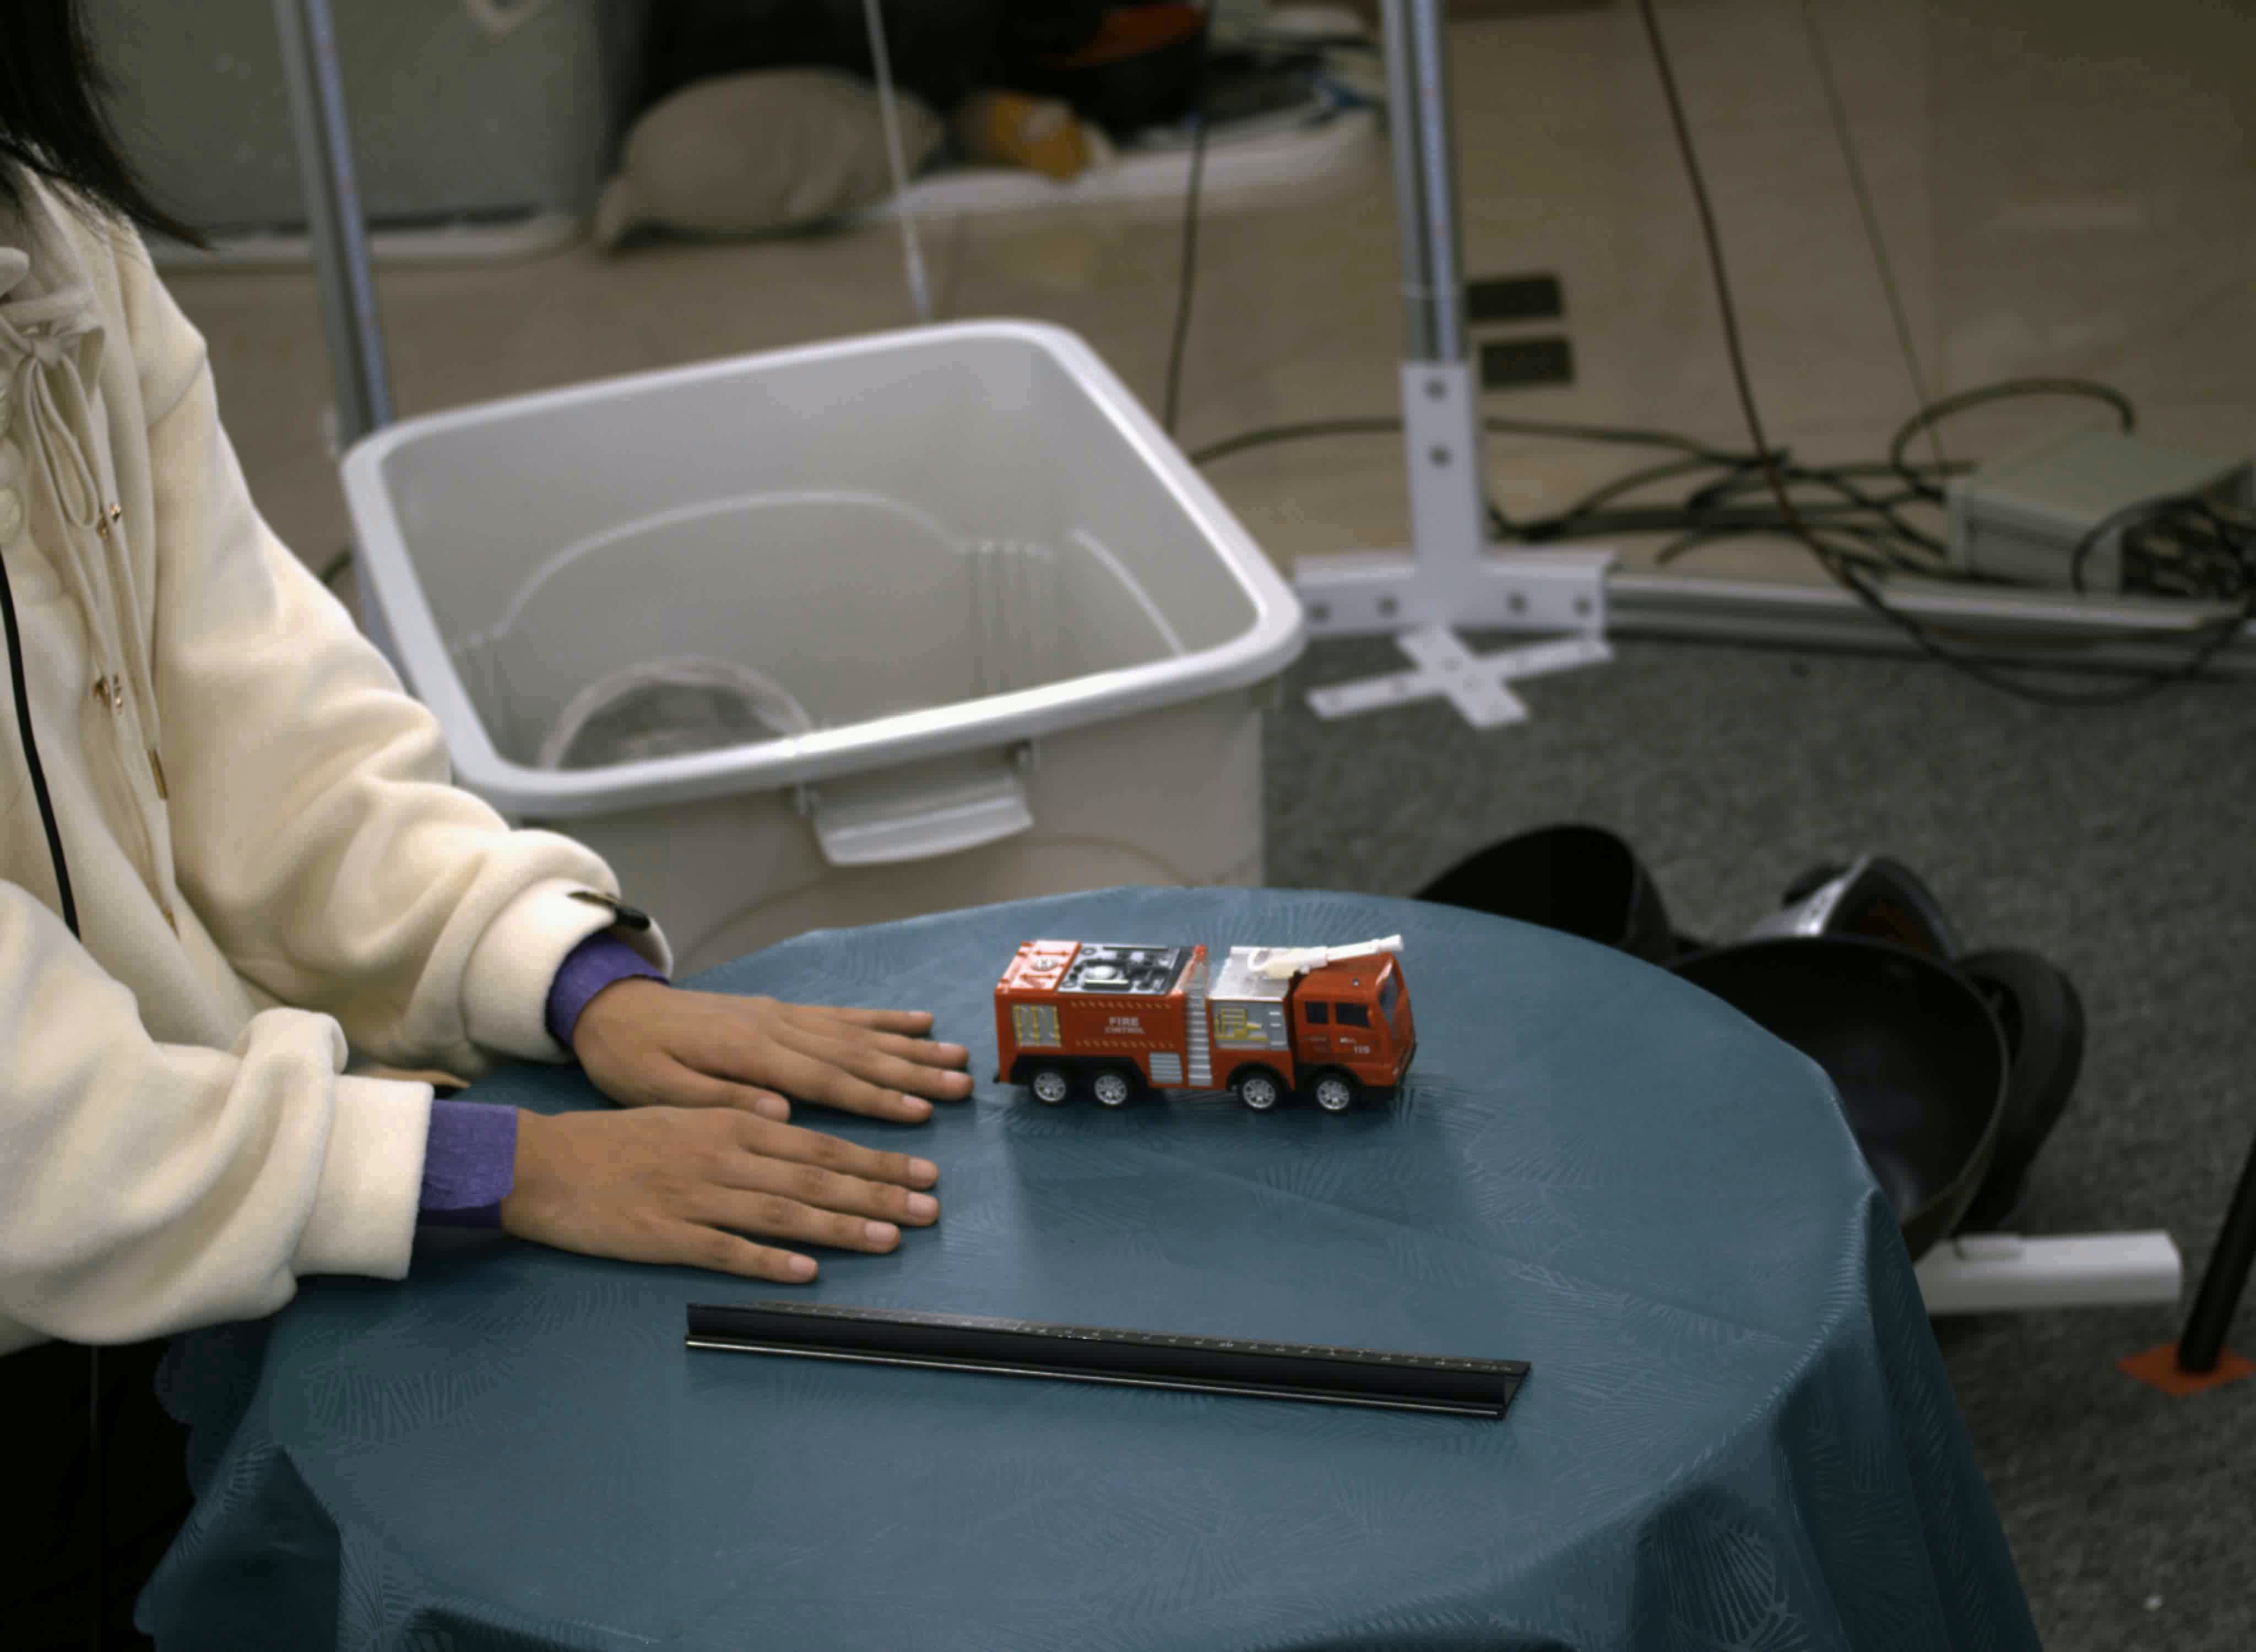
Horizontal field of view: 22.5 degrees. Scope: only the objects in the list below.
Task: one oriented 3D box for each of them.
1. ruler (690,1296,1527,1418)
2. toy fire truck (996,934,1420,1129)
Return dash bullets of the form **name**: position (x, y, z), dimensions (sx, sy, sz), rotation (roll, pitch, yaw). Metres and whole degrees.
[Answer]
- **ruler**: position (-0.010, 0.184, 2.036), dimensions (0.312, 0.017, 0.039), rotation (3, 23, 21)
- **toy fire truck**: position (0.031, 0.076, 2.206), dimensions (0.167, 0.071, 0.053), rotation (0, 28, 17)
